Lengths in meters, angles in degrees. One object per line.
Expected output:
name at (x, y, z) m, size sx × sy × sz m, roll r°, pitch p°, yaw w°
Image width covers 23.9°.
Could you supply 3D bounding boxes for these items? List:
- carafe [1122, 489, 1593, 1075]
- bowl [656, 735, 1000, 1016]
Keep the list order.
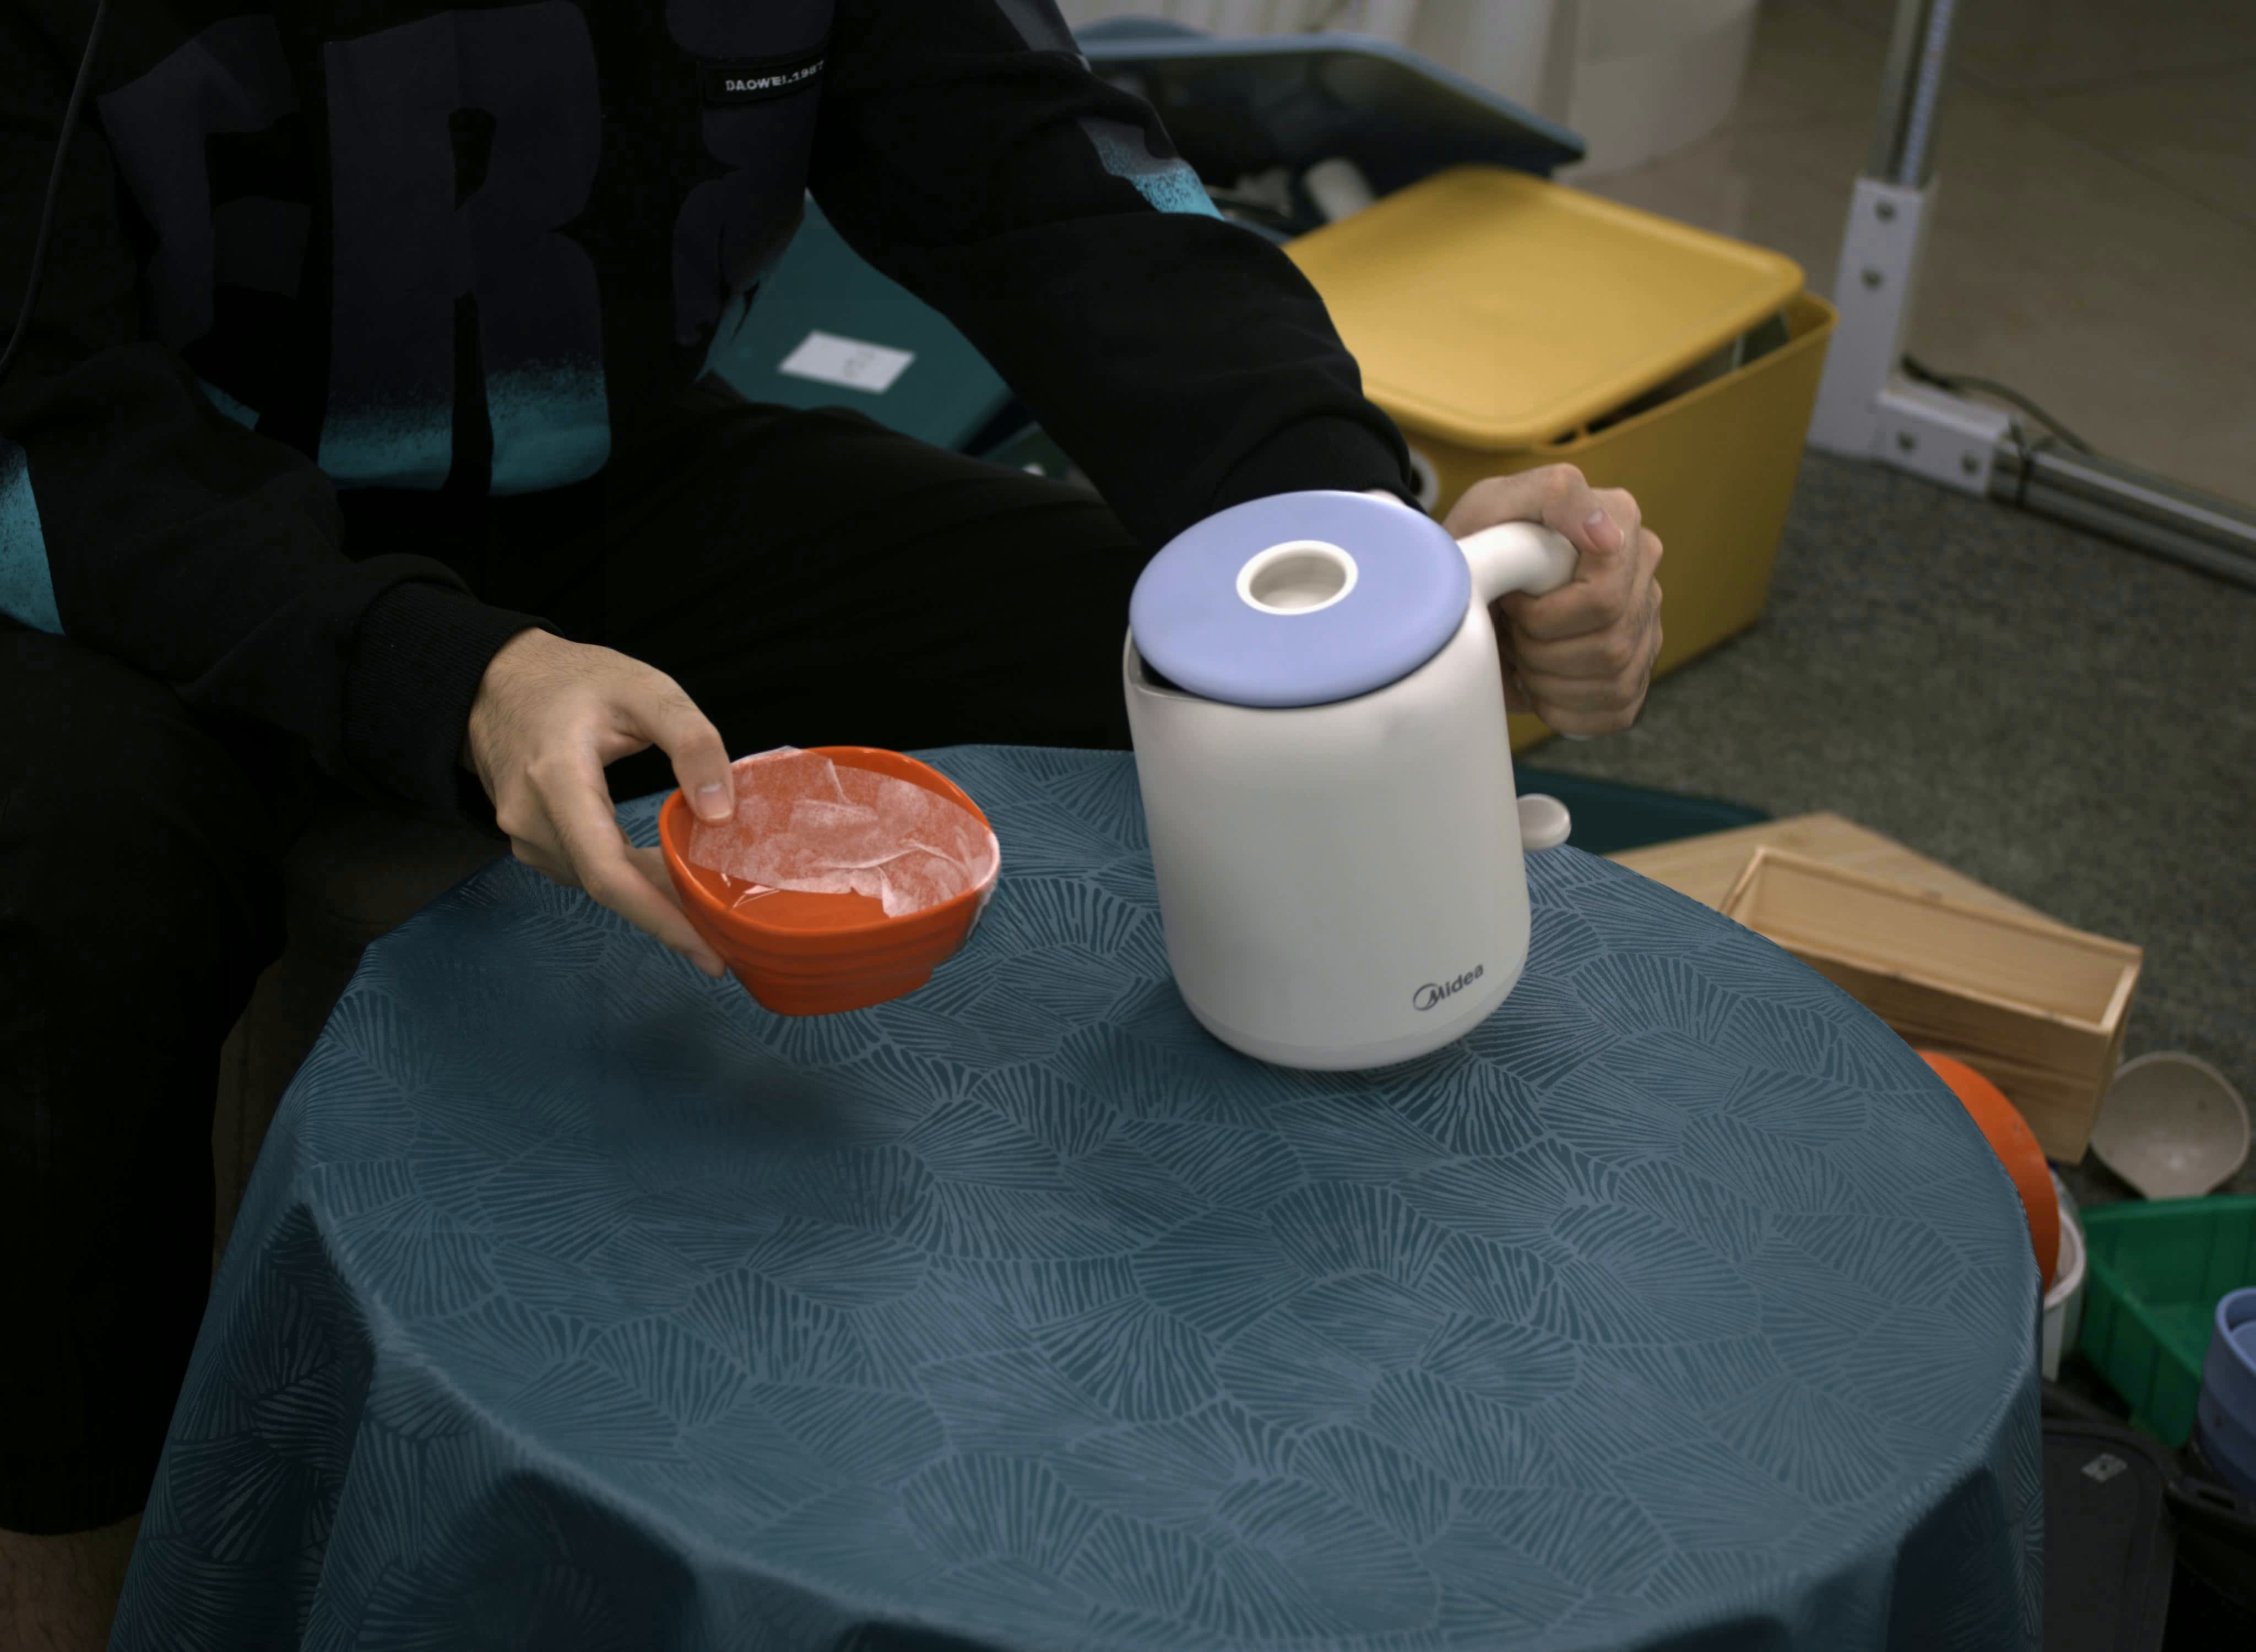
carafe at (0.088, -0.025, 1.880) m, size 0.190 × 0.181 × 0.133 m, roll -26°, pitch 41°, yaw -24°
bowl at (-0.102, 0.022, 1.804) m, size 0.118 × 0.051 × 0.120 m, roll 2°, pitch 36°, yaw -2°
